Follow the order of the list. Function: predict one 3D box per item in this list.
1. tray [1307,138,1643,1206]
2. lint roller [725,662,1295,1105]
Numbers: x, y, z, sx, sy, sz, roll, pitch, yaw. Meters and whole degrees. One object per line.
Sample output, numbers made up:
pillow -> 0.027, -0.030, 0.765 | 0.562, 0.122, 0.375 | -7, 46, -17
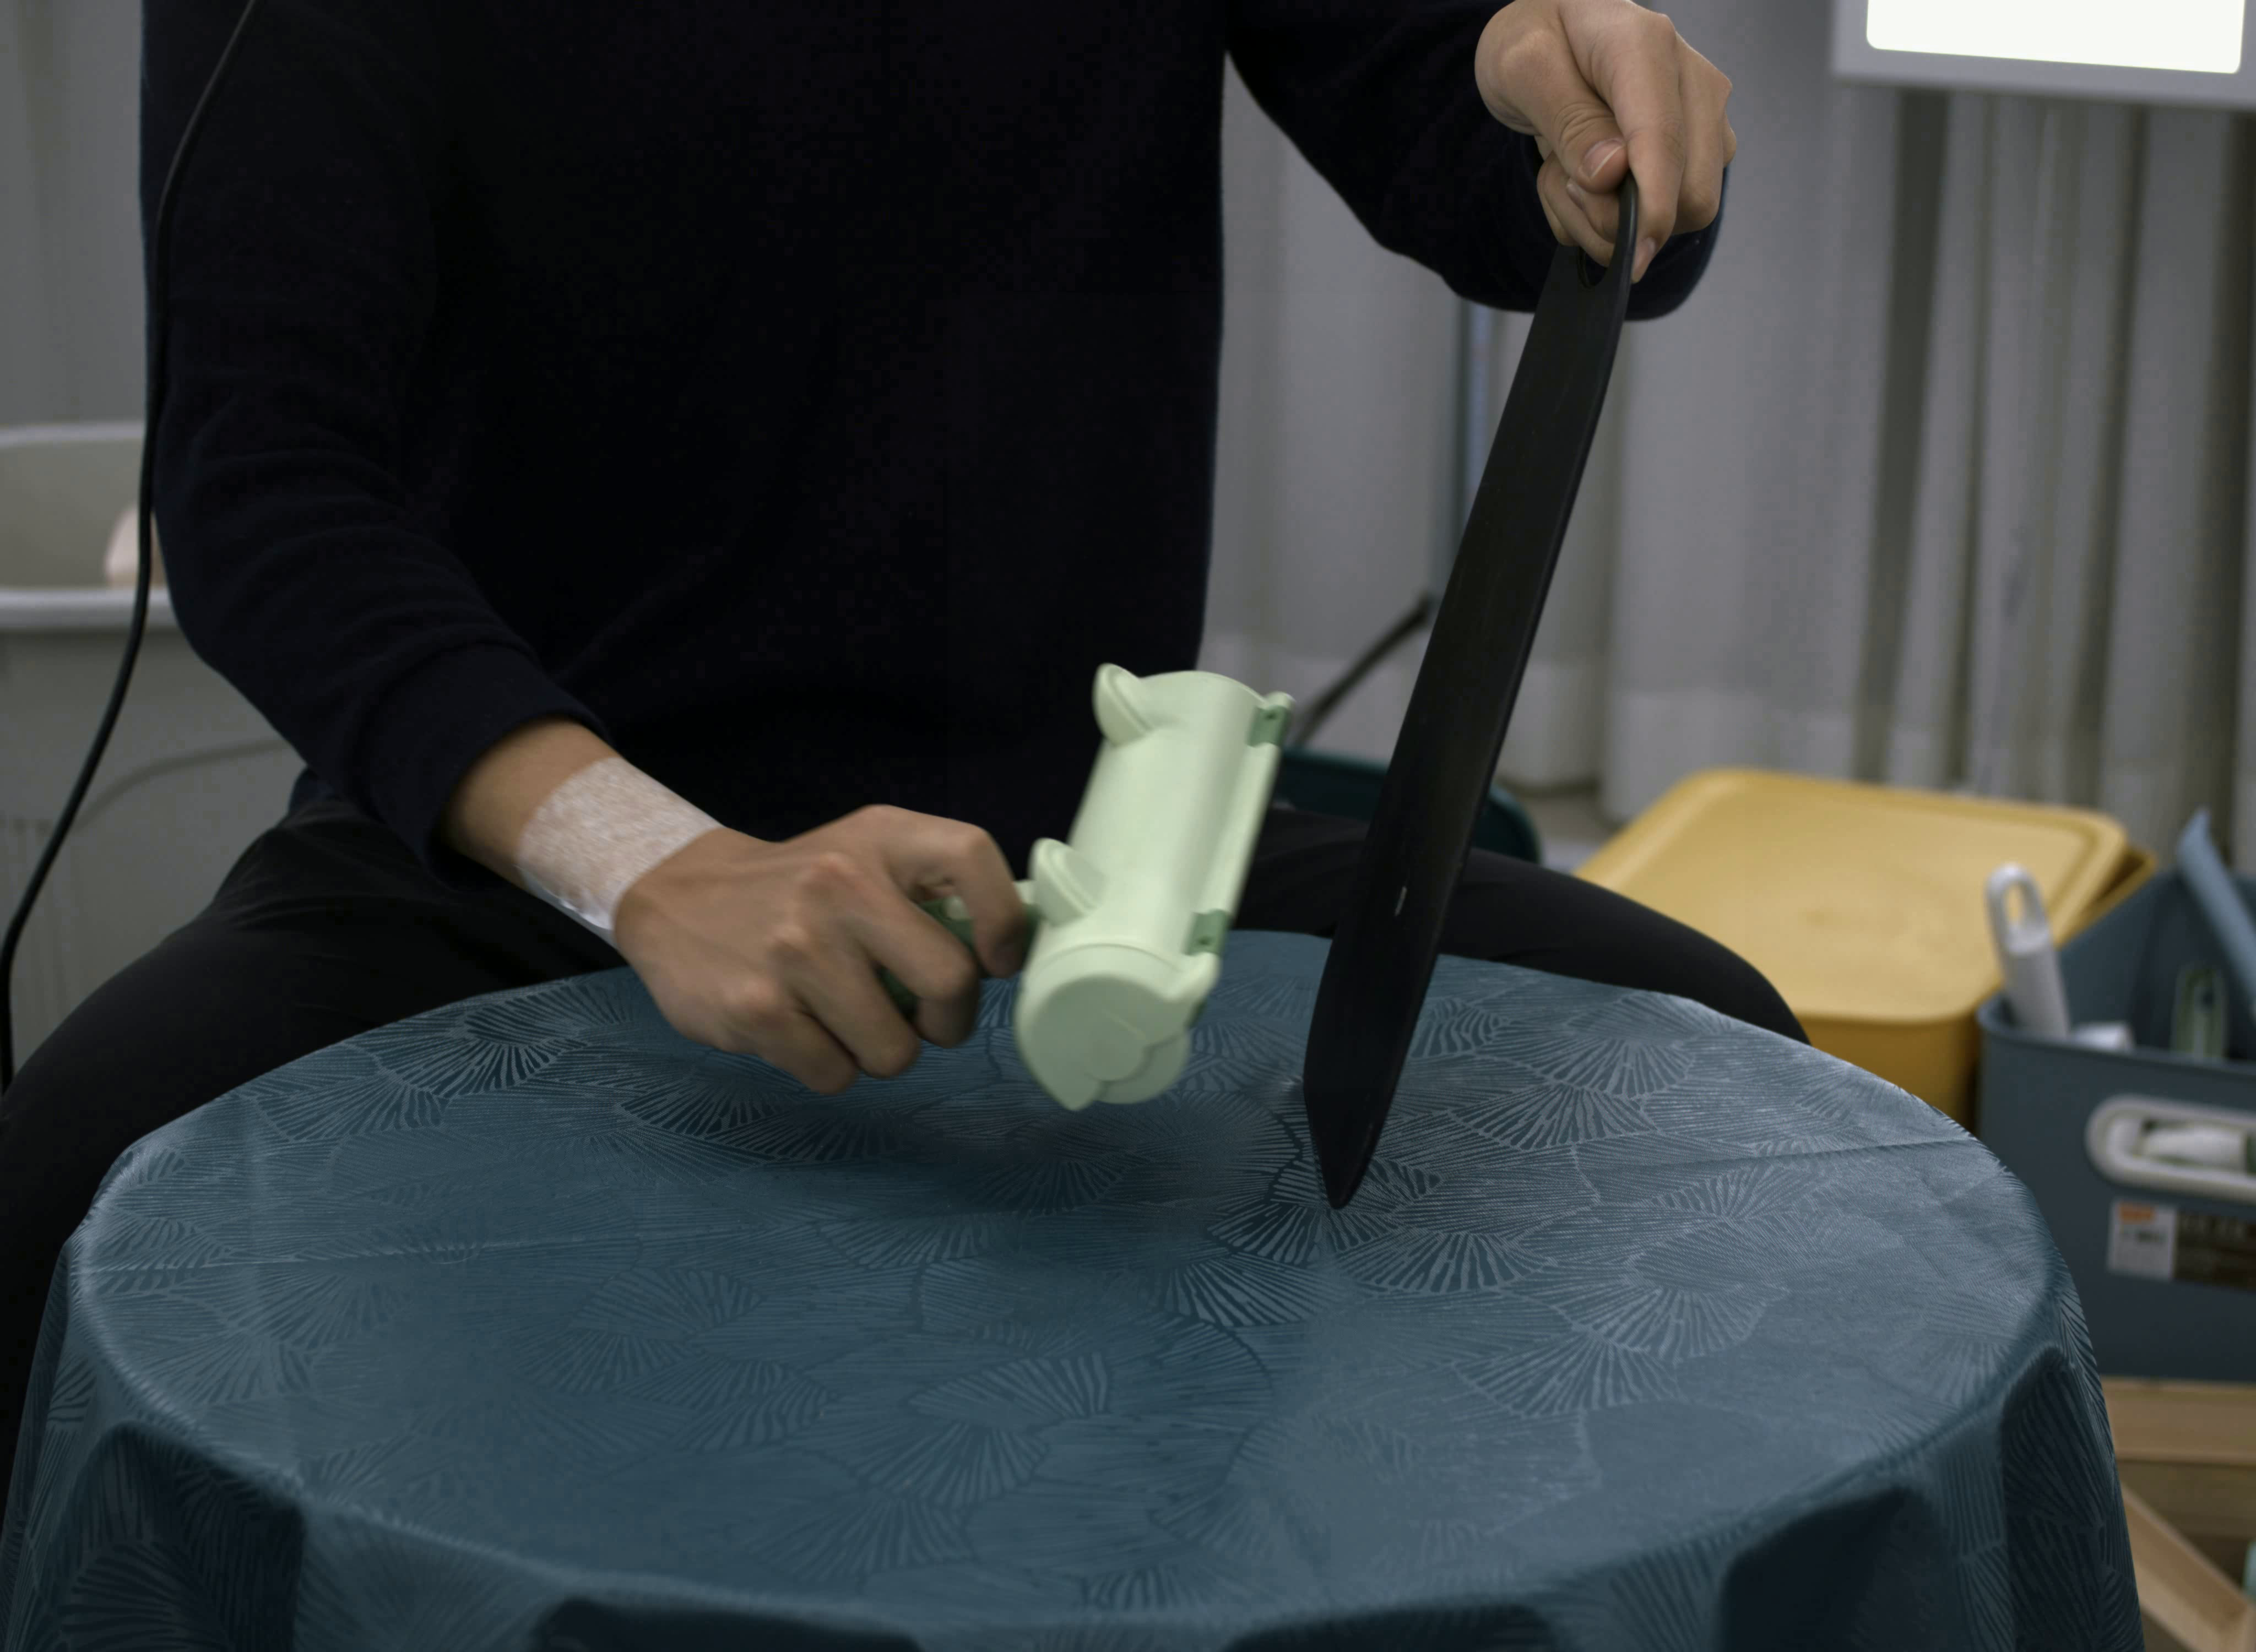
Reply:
tray -> 0.107, -0.051, 1.618 | 0.010, 0.327, 0.210 | 15, 12, -5
lint roller -> -0.046, 0.018, 1.629 | 0.182, 0.083, 0.197 | -8, 26, 13
